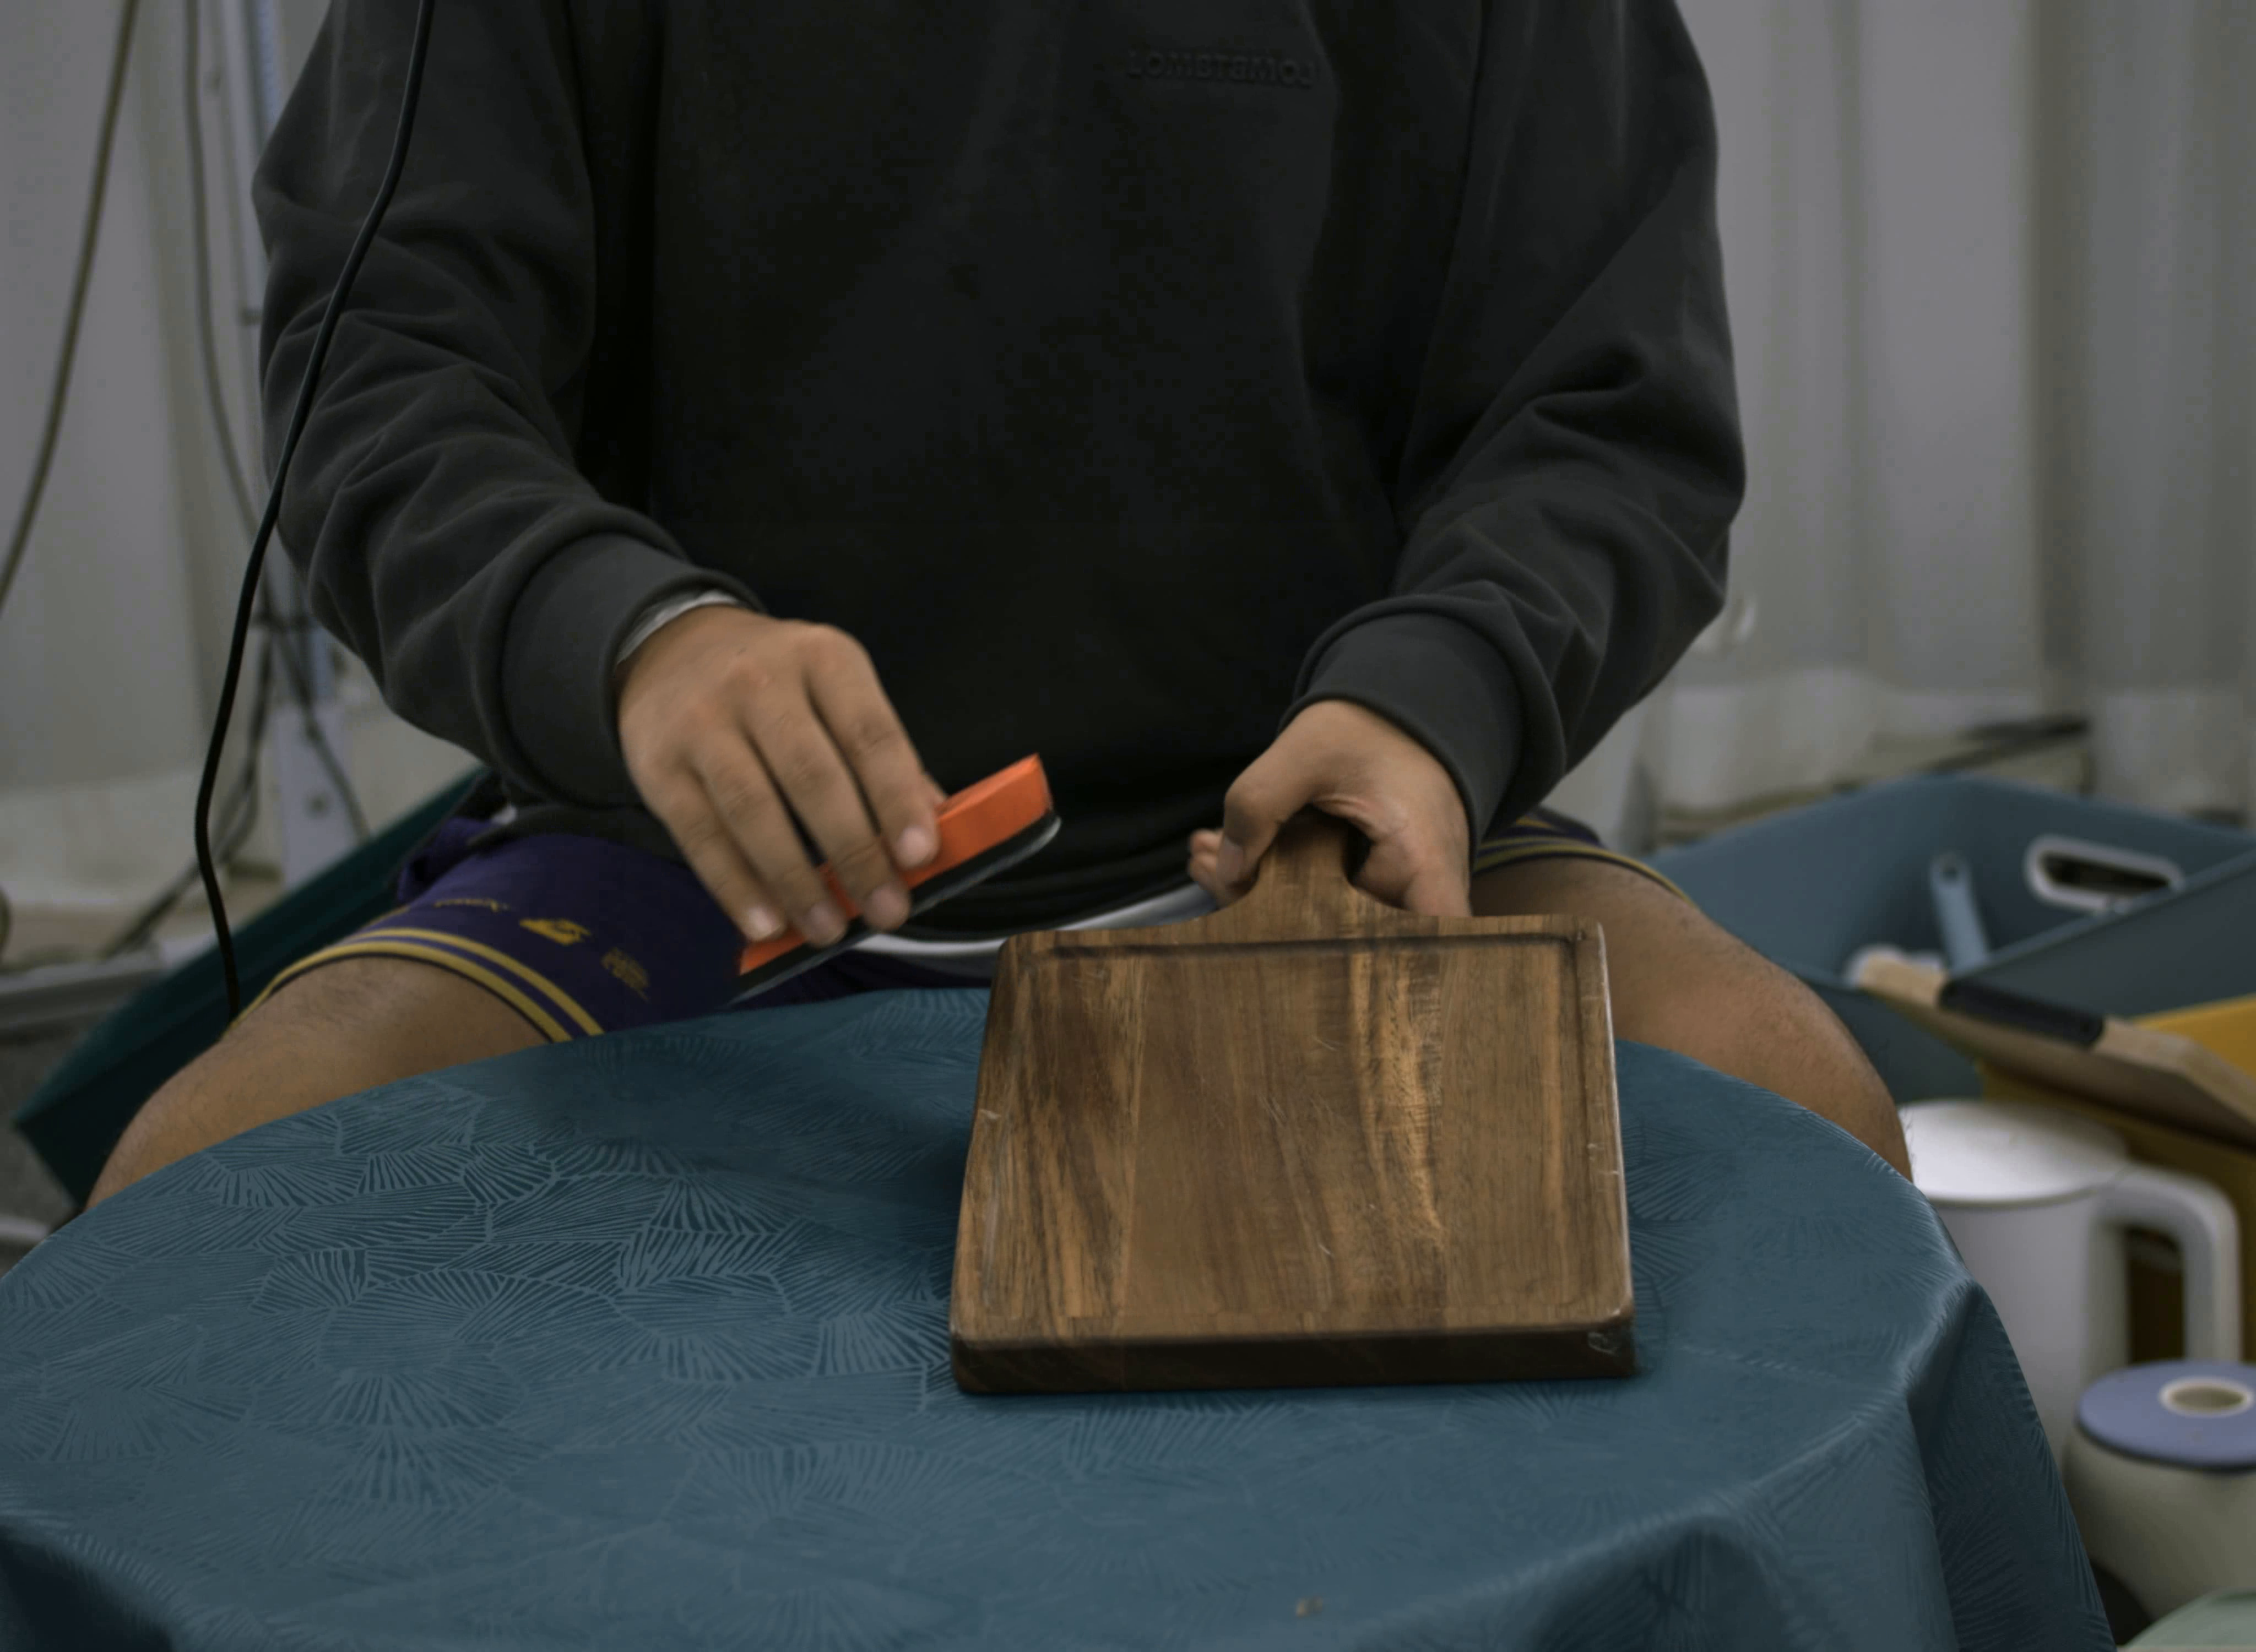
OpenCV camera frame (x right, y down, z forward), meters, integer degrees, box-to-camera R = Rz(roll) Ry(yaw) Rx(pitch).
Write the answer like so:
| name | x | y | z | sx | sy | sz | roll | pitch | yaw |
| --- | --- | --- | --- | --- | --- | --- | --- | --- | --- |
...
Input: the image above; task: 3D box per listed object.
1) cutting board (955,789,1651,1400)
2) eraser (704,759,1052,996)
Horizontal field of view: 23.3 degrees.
| name | x | y | z | sx | sy | sz | roll | pitch | yaw |
| --- | --- | --- | --- | --- | --- | --- | --- | --- | --- |
| cutting board | 0.052 | 0.074 | 1.693 | 0.200 | 0.023 | 0.356 | -2 | 26 | 3 |
| eraser | -0.078 | 0.016 | 1.709 | 0.108 | 0.023 | 0.059 | -28 | 5 | 12 |
